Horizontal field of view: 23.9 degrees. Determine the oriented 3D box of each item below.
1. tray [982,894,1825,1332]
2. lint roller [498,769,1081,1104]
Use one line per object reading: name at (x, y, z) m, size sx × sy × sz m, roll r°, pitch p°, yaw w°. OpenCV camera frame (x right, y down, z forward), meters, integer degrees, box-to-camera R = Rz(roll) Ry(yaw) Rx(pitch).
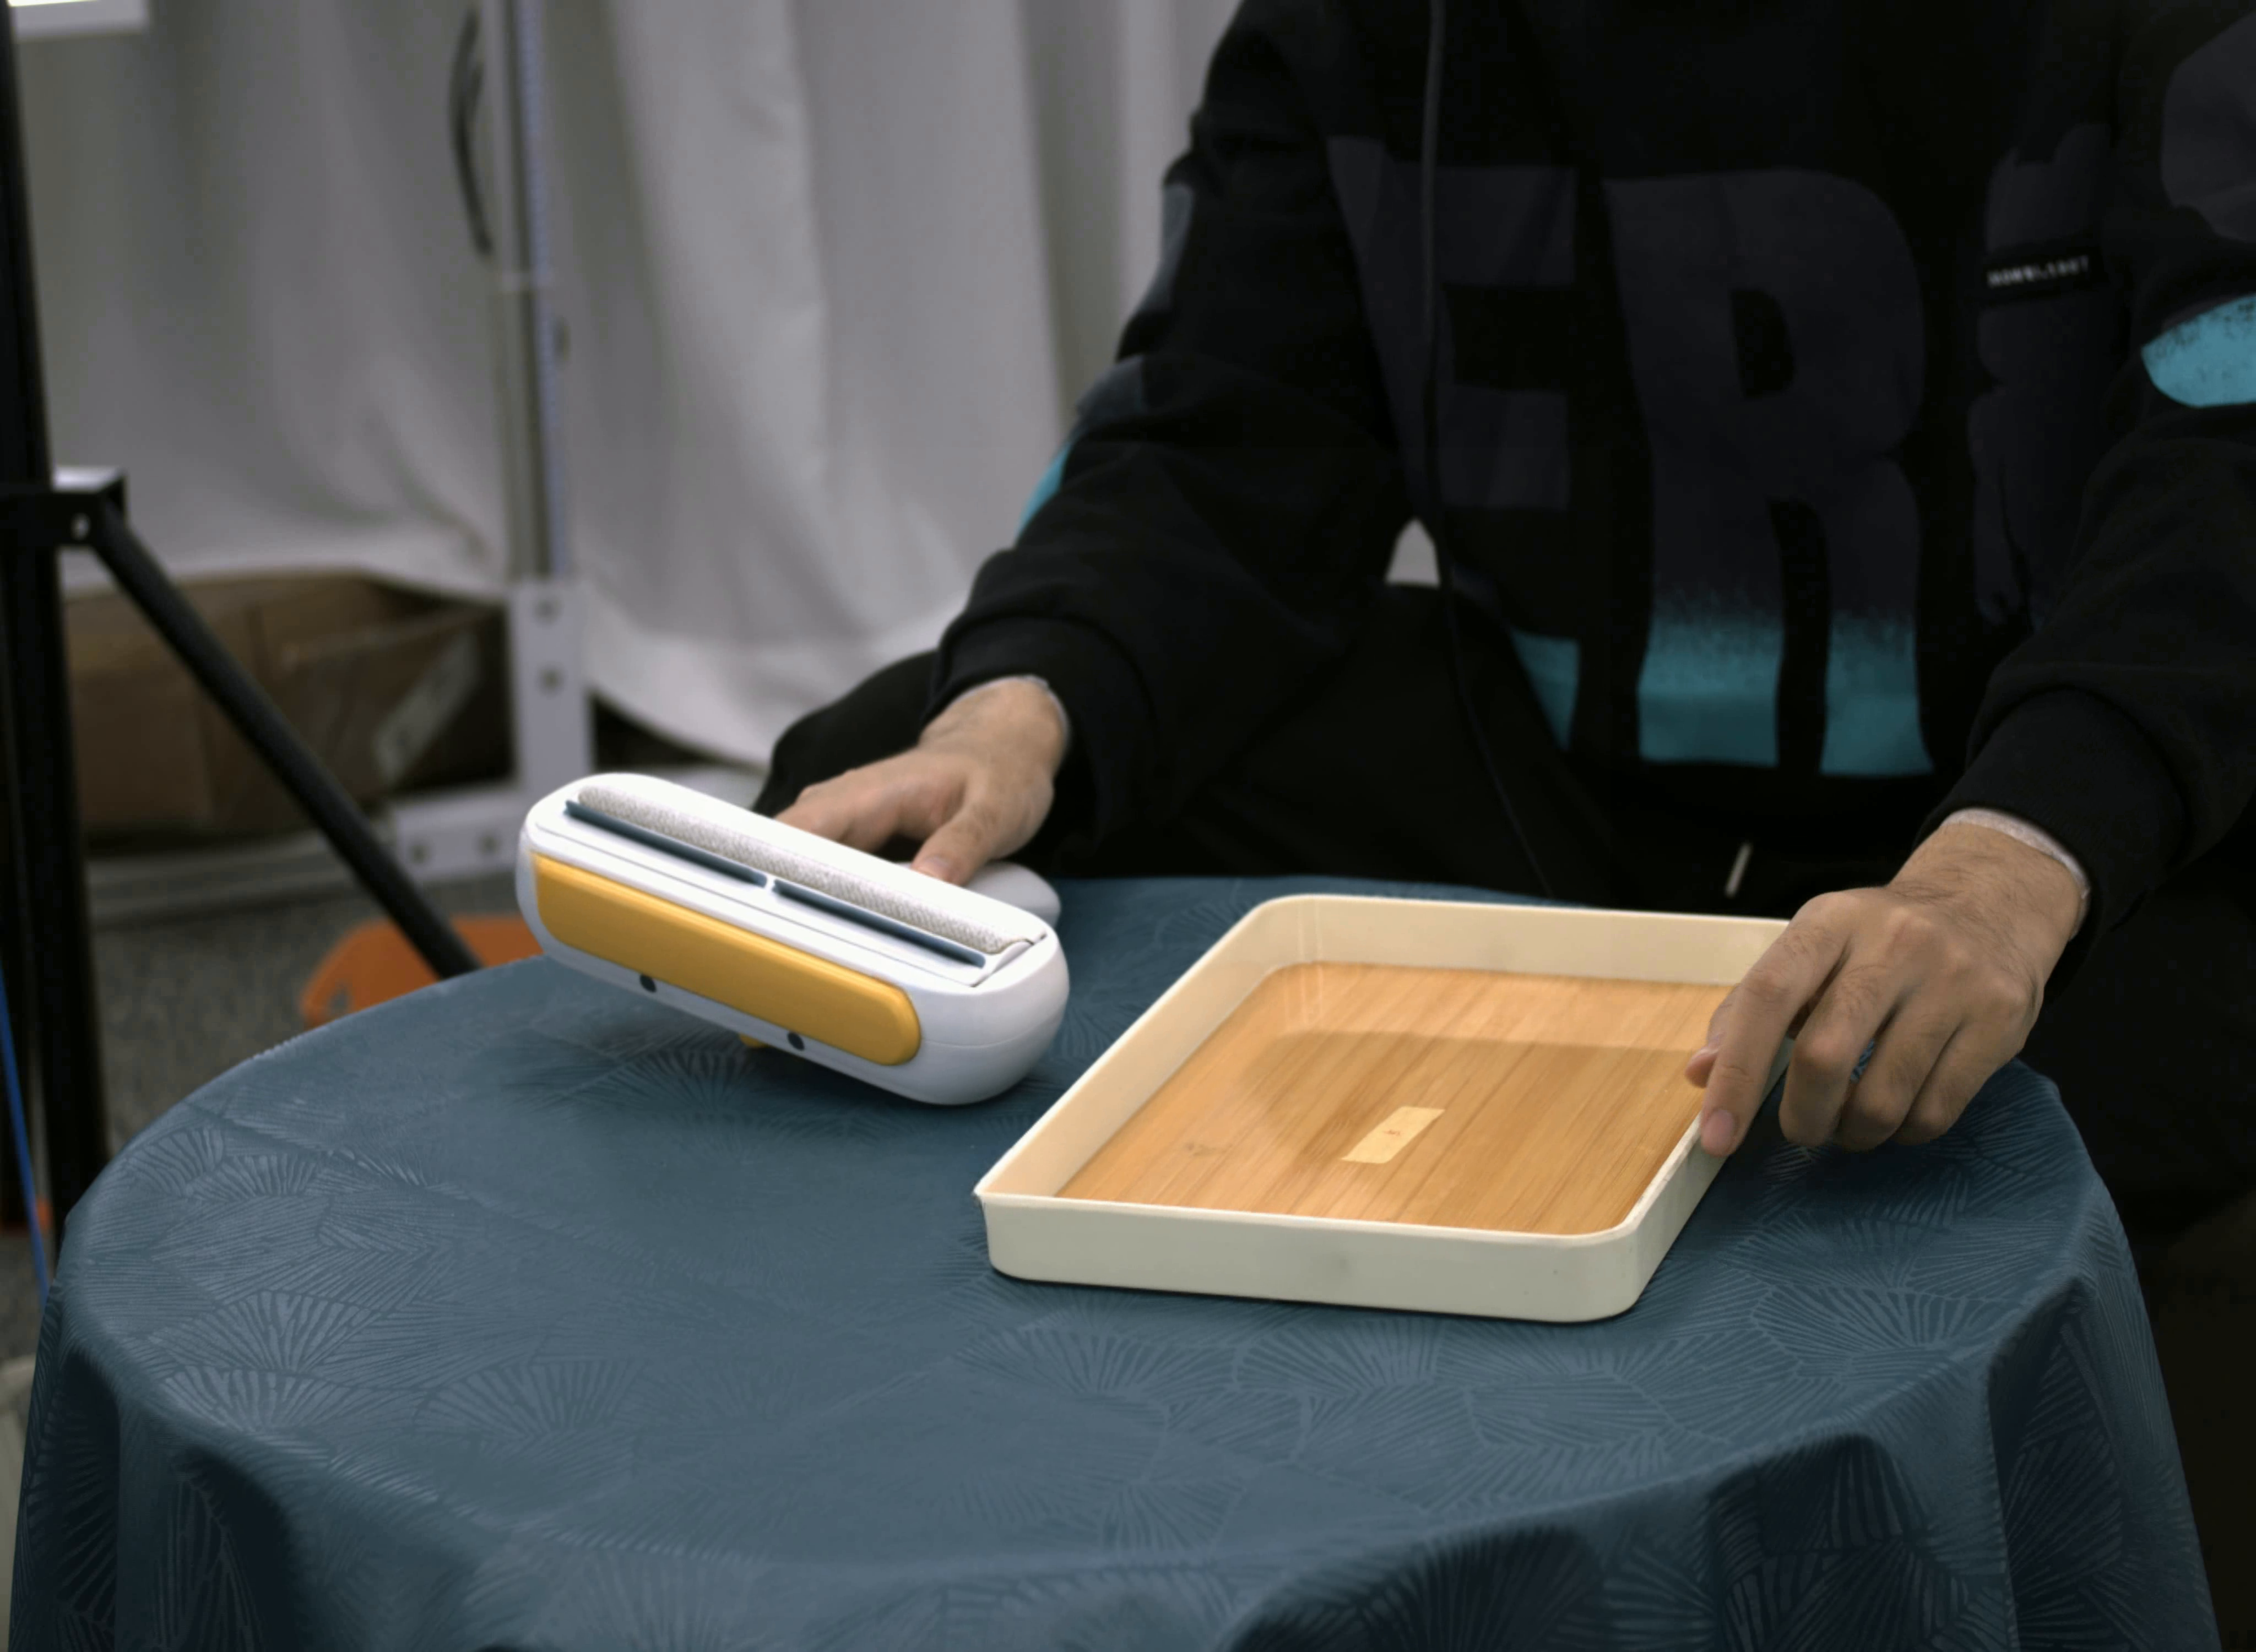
tray at (0.090, 0.081, 1.590) m, size 0.194 × 0.027 × 0.297 m, roll 4°, pitch 17°, yaw 19°
lint roller at (-0.081, 0.028, 1.733) m, size 0.197 × 0.074 × 0.188 m, roll 16°, pitch 22°, yaw 33°
